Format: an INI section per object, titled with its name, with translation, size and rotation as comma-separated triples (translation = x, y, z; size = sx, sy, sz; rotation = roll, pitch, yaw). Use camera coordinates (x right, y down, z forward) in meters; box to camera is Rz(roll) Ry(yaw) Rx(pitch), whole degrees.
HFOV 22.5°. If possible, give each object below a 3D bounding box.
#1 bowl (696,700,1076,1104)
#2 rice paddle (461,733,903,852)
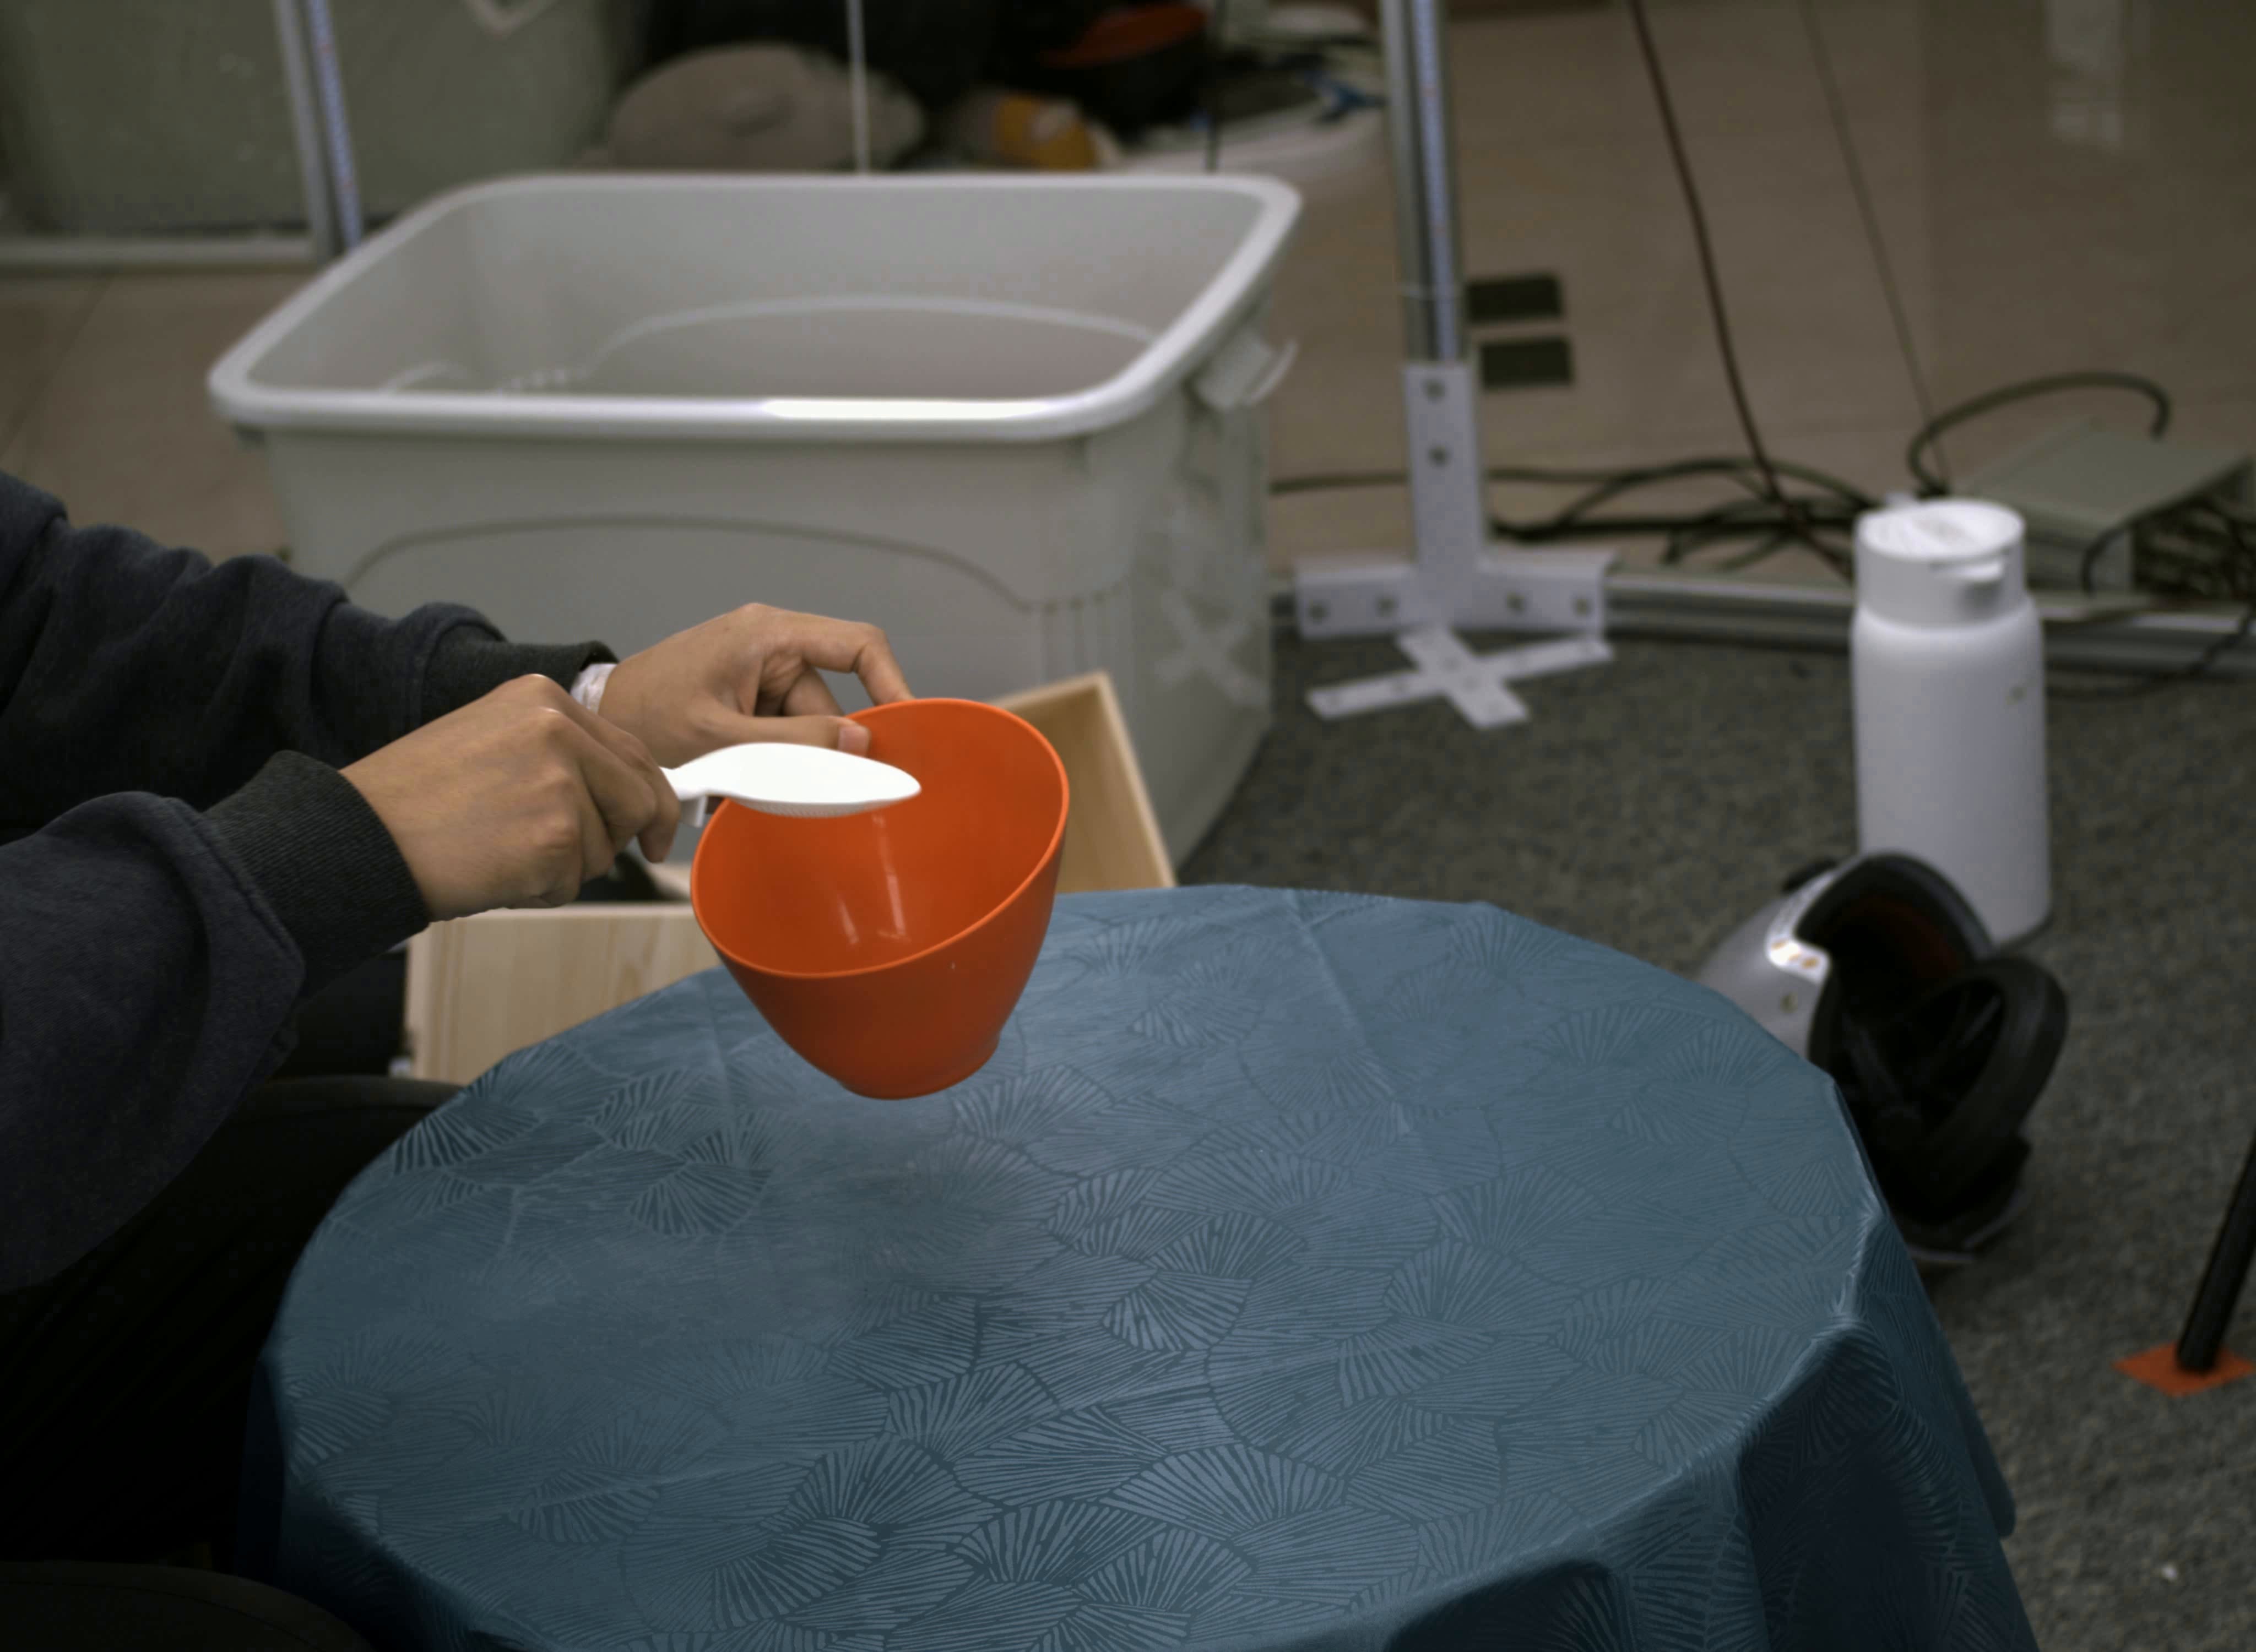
[bowl]
translation = -0.083, 0.037, 2.131
size = 0.148, 0.106, 0.145
rotation = -9, 35, 7
[rice paddle]
translation = -0.156, -0.017, 2.026
size = 0.068, 0.030, 0.204
rotation = 23, 20, 34
